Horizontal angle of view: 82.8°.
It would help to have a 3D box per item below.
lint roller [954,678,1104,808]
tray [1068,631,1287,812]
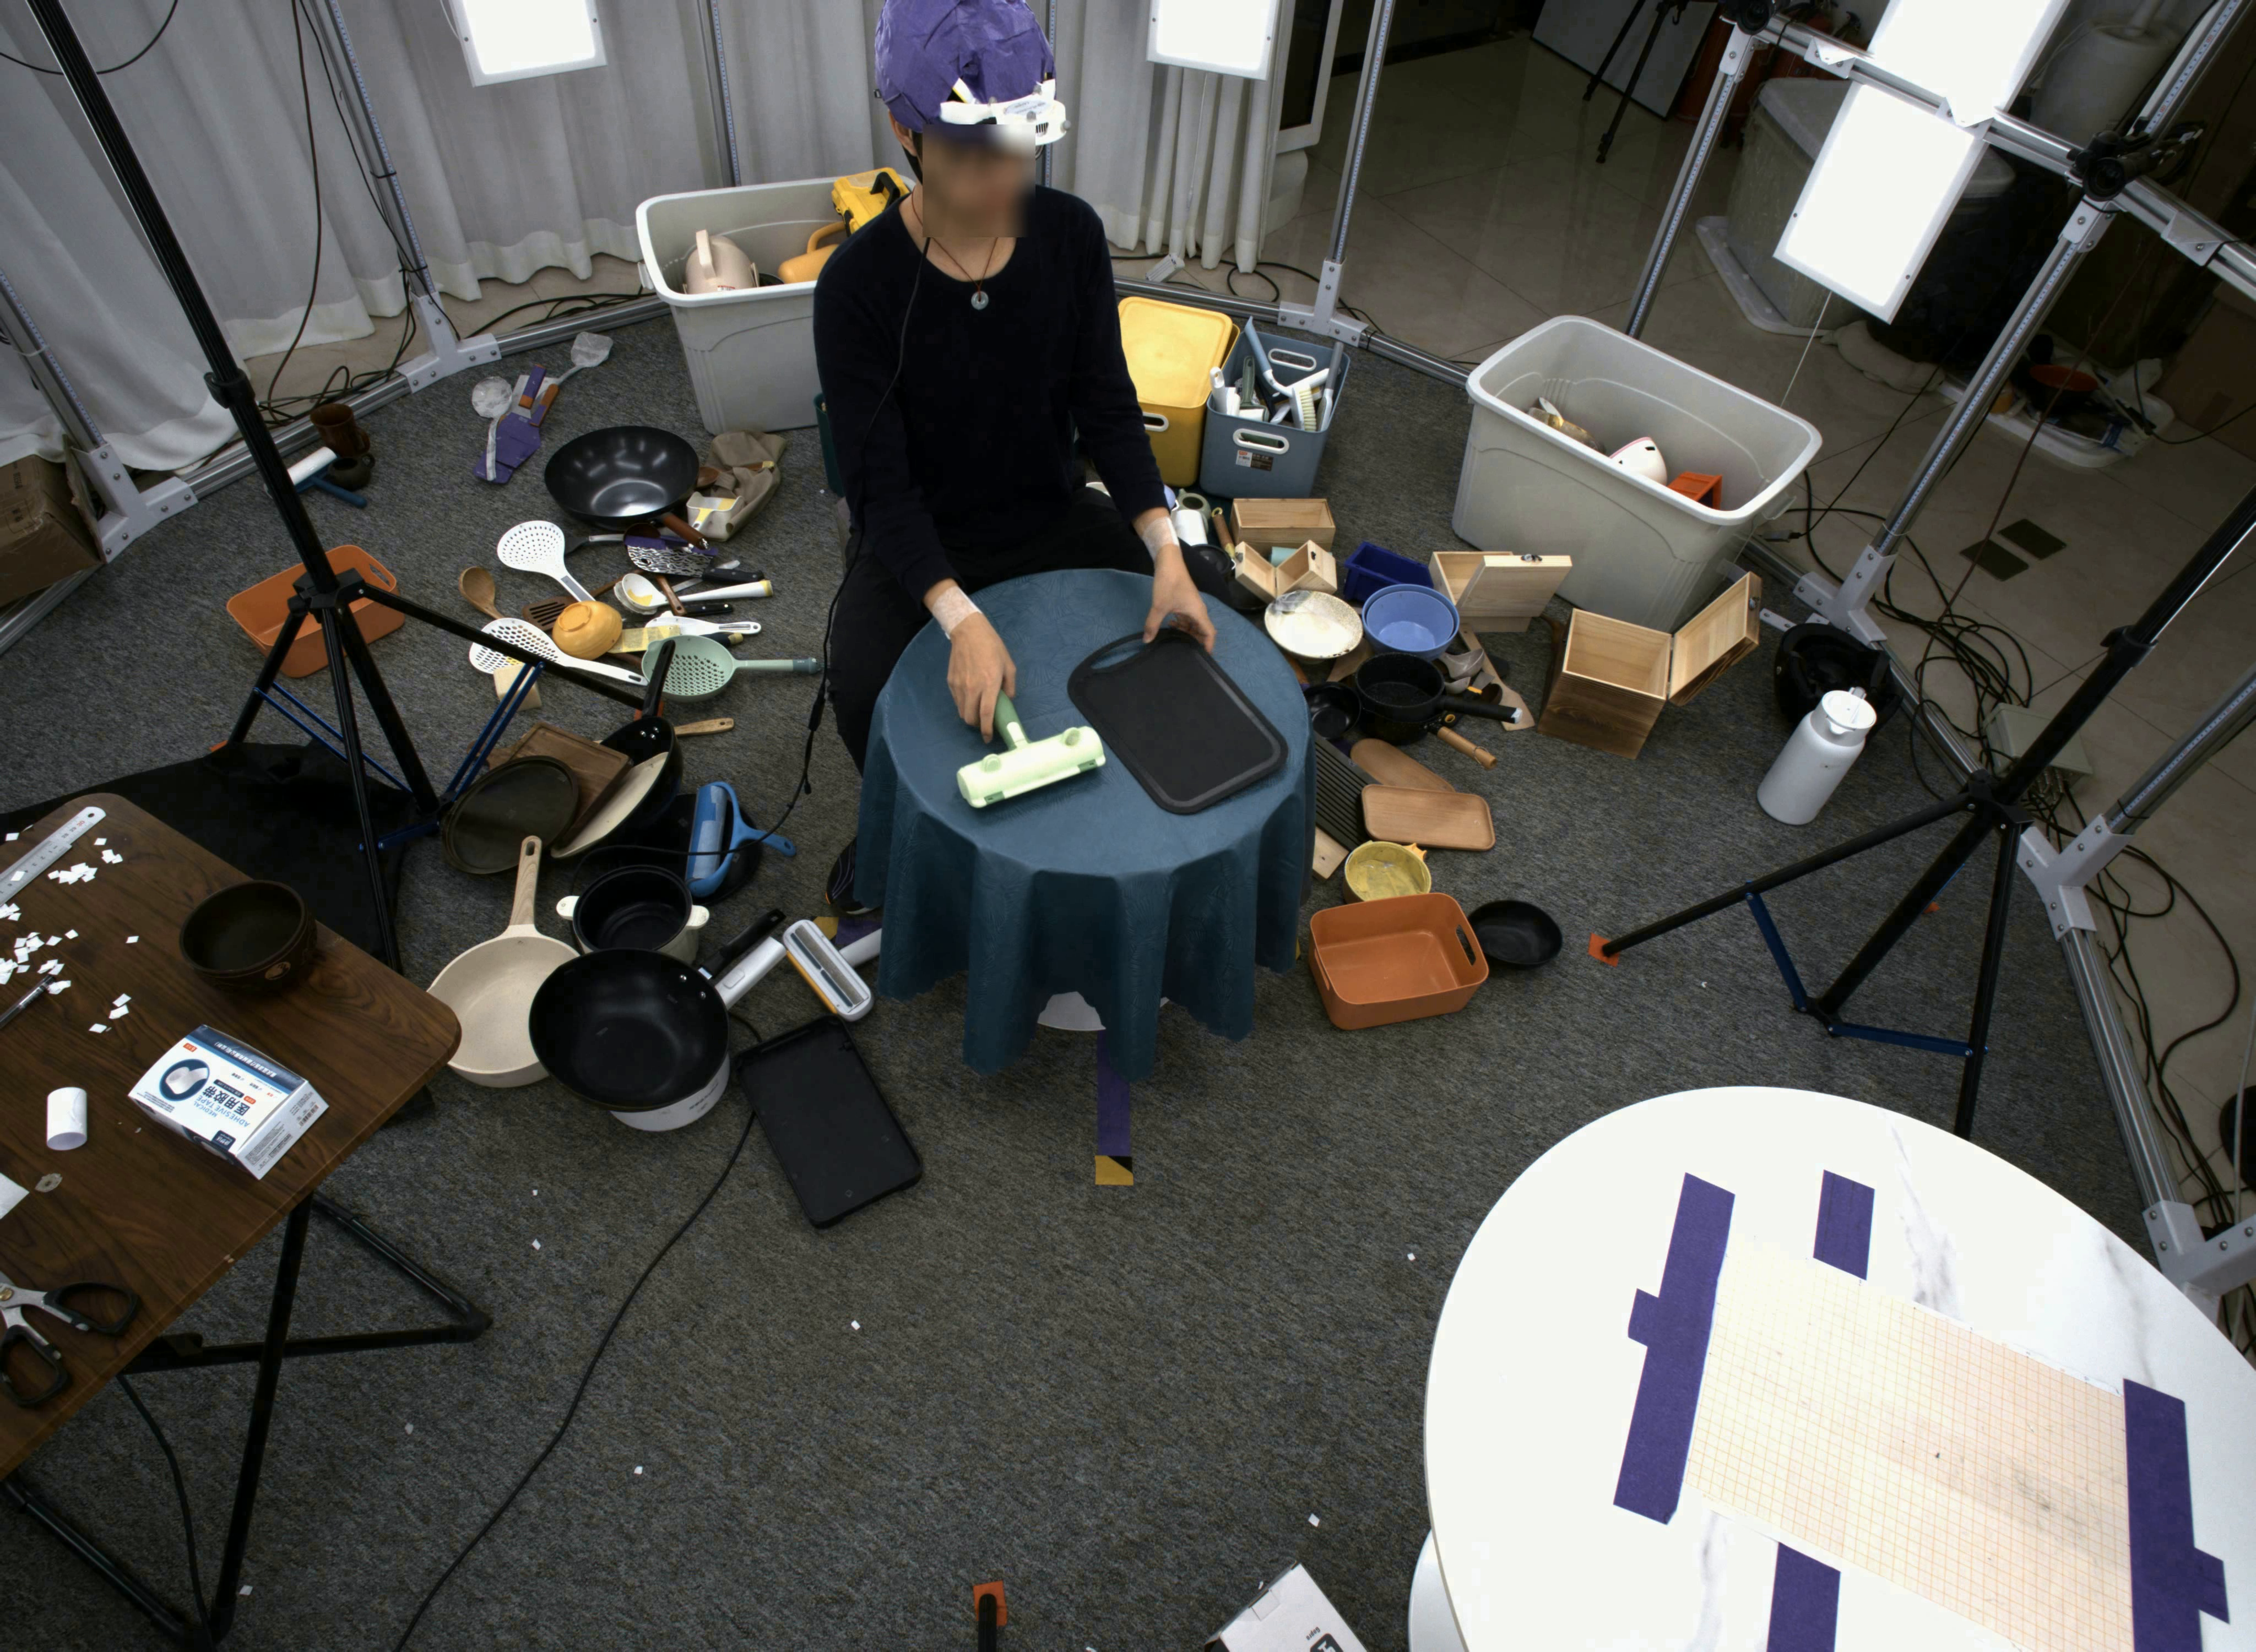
[{"bbox_3d":[-0.152,-0.133,1.706,0.199,0.081,0.186,-21,73,-21],"label":"lint roller"},{"bbox_3d":[0.061,-0.158,1.795,0.212,0.009,0.332,-26,56,-18],"label":"tray"}]
